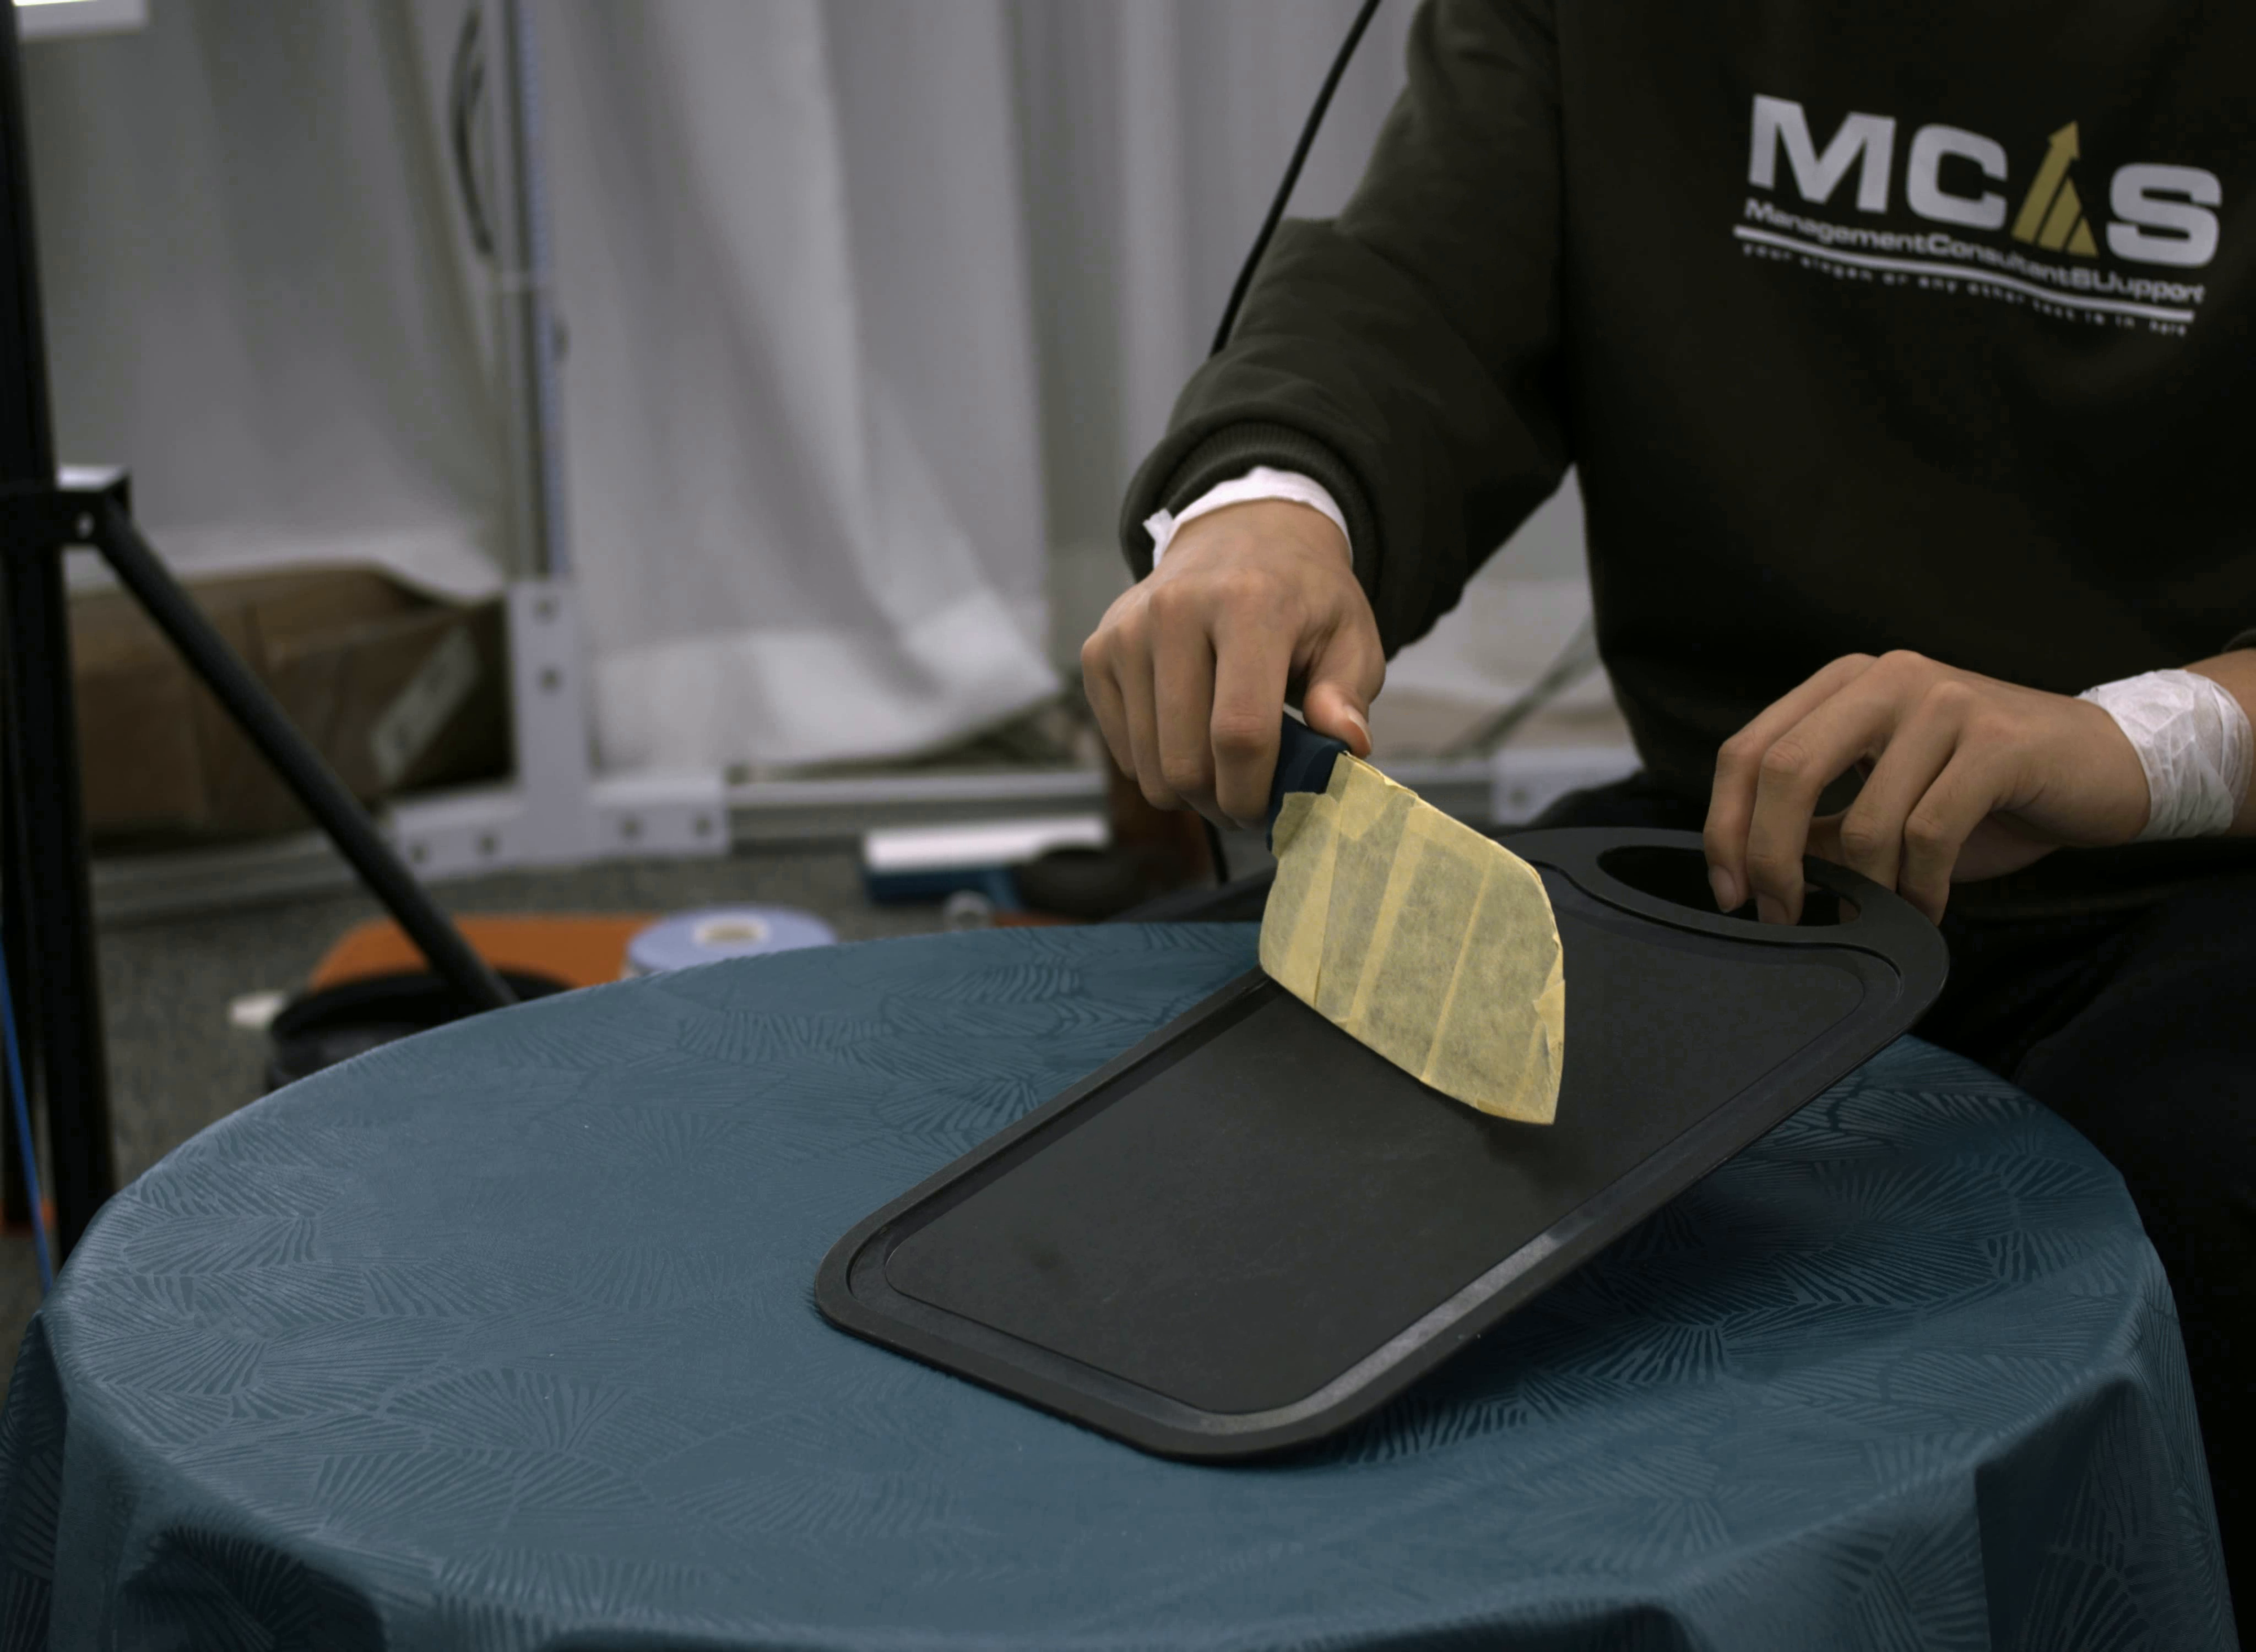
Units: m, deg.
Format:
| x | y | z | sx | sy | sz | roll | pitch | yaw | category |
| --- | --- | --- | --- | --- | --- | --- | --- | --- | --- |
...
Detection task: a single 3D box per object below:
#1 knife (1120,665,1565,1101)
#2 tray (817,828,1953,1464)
| x | y | z | sx | sy | sz | roll | pitch | yaw | category |
| --- | --- | --- | --- | --- | --- | --- | --- | --- | --- |
| 0.060 | 0.012 | 1.569 | 0.026 | 0.081 | 0.295 | 14 | 13 | -28 | knife |
| 0.079 | 0.078 | 1.497 | 0.320 | 0.010 | 0.216 | -31 | 29 | -31 | tray |
